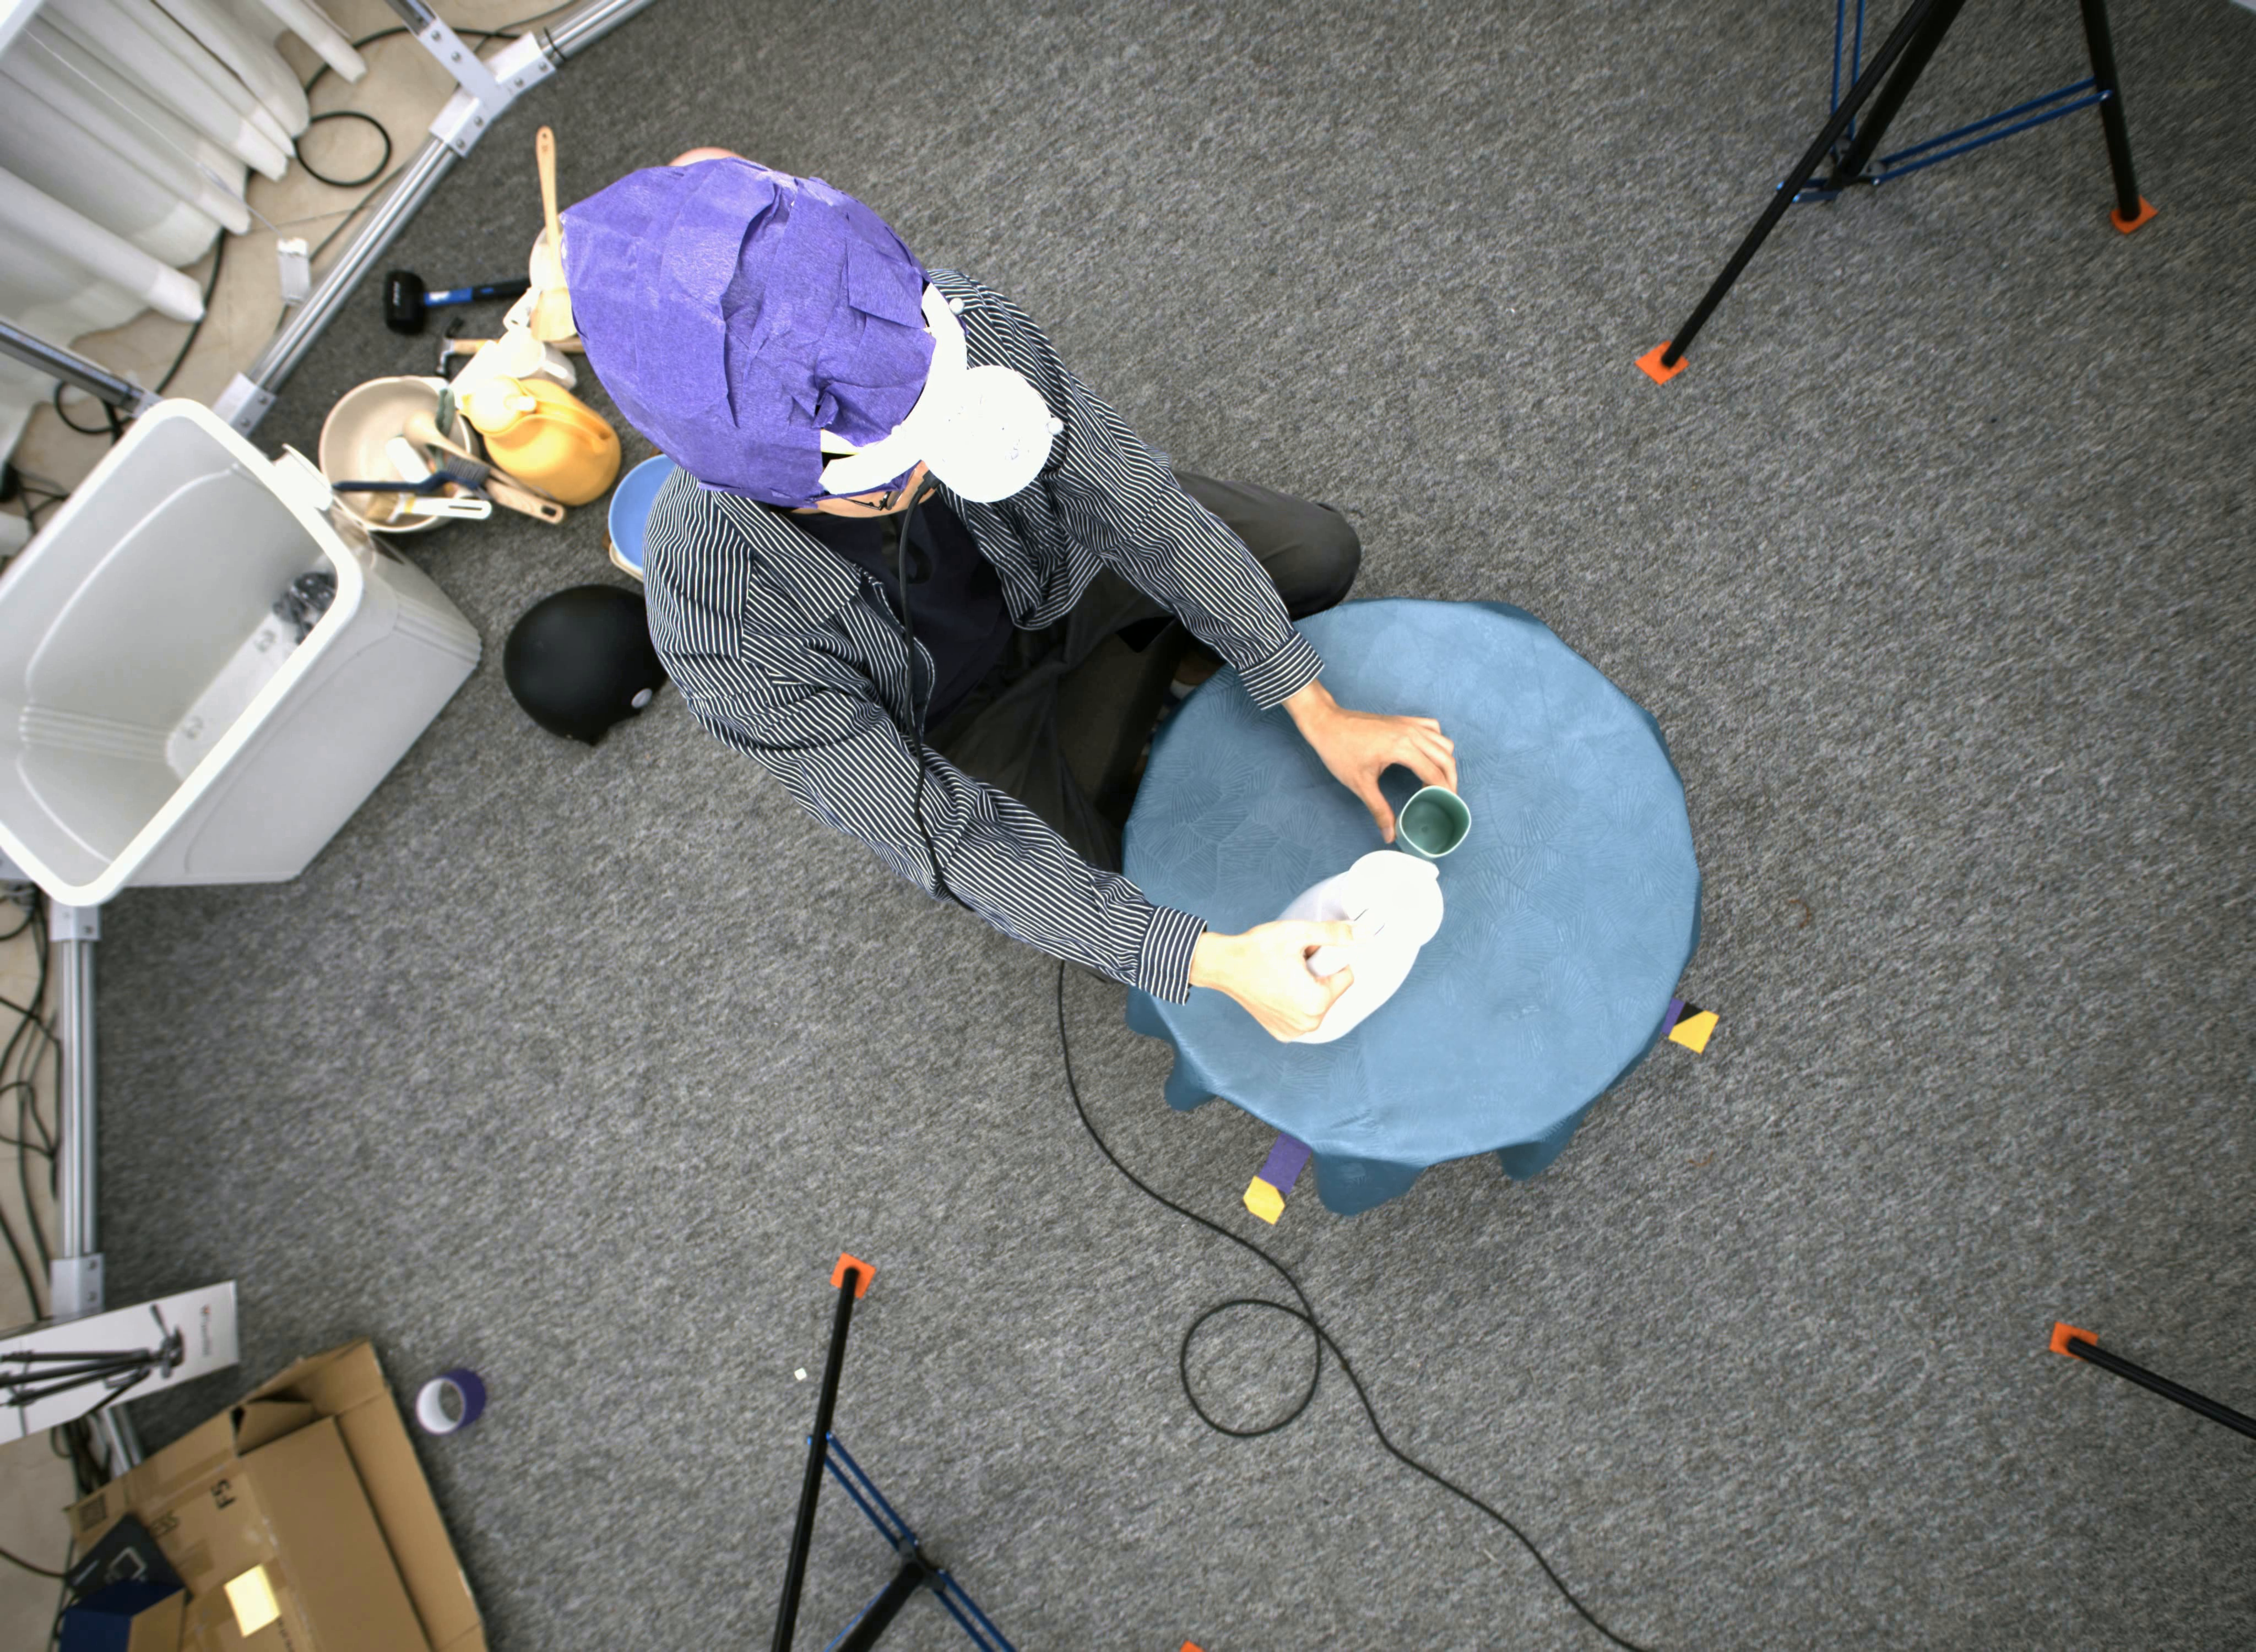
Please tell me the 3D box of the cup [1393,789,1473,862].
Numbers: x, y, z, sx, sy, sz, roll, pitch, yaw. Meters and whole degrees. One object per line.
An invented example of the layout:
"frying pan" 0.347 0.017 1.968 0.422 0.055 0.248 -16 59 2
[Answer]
"cup" 0.296 -0.001 1.352 0.067 0.132 0.066 0 88 8

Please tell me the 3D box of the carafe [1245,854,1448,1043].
"carafe" 0.194 0.121 1.276 0.132 0.253 0.165 44 67 6
